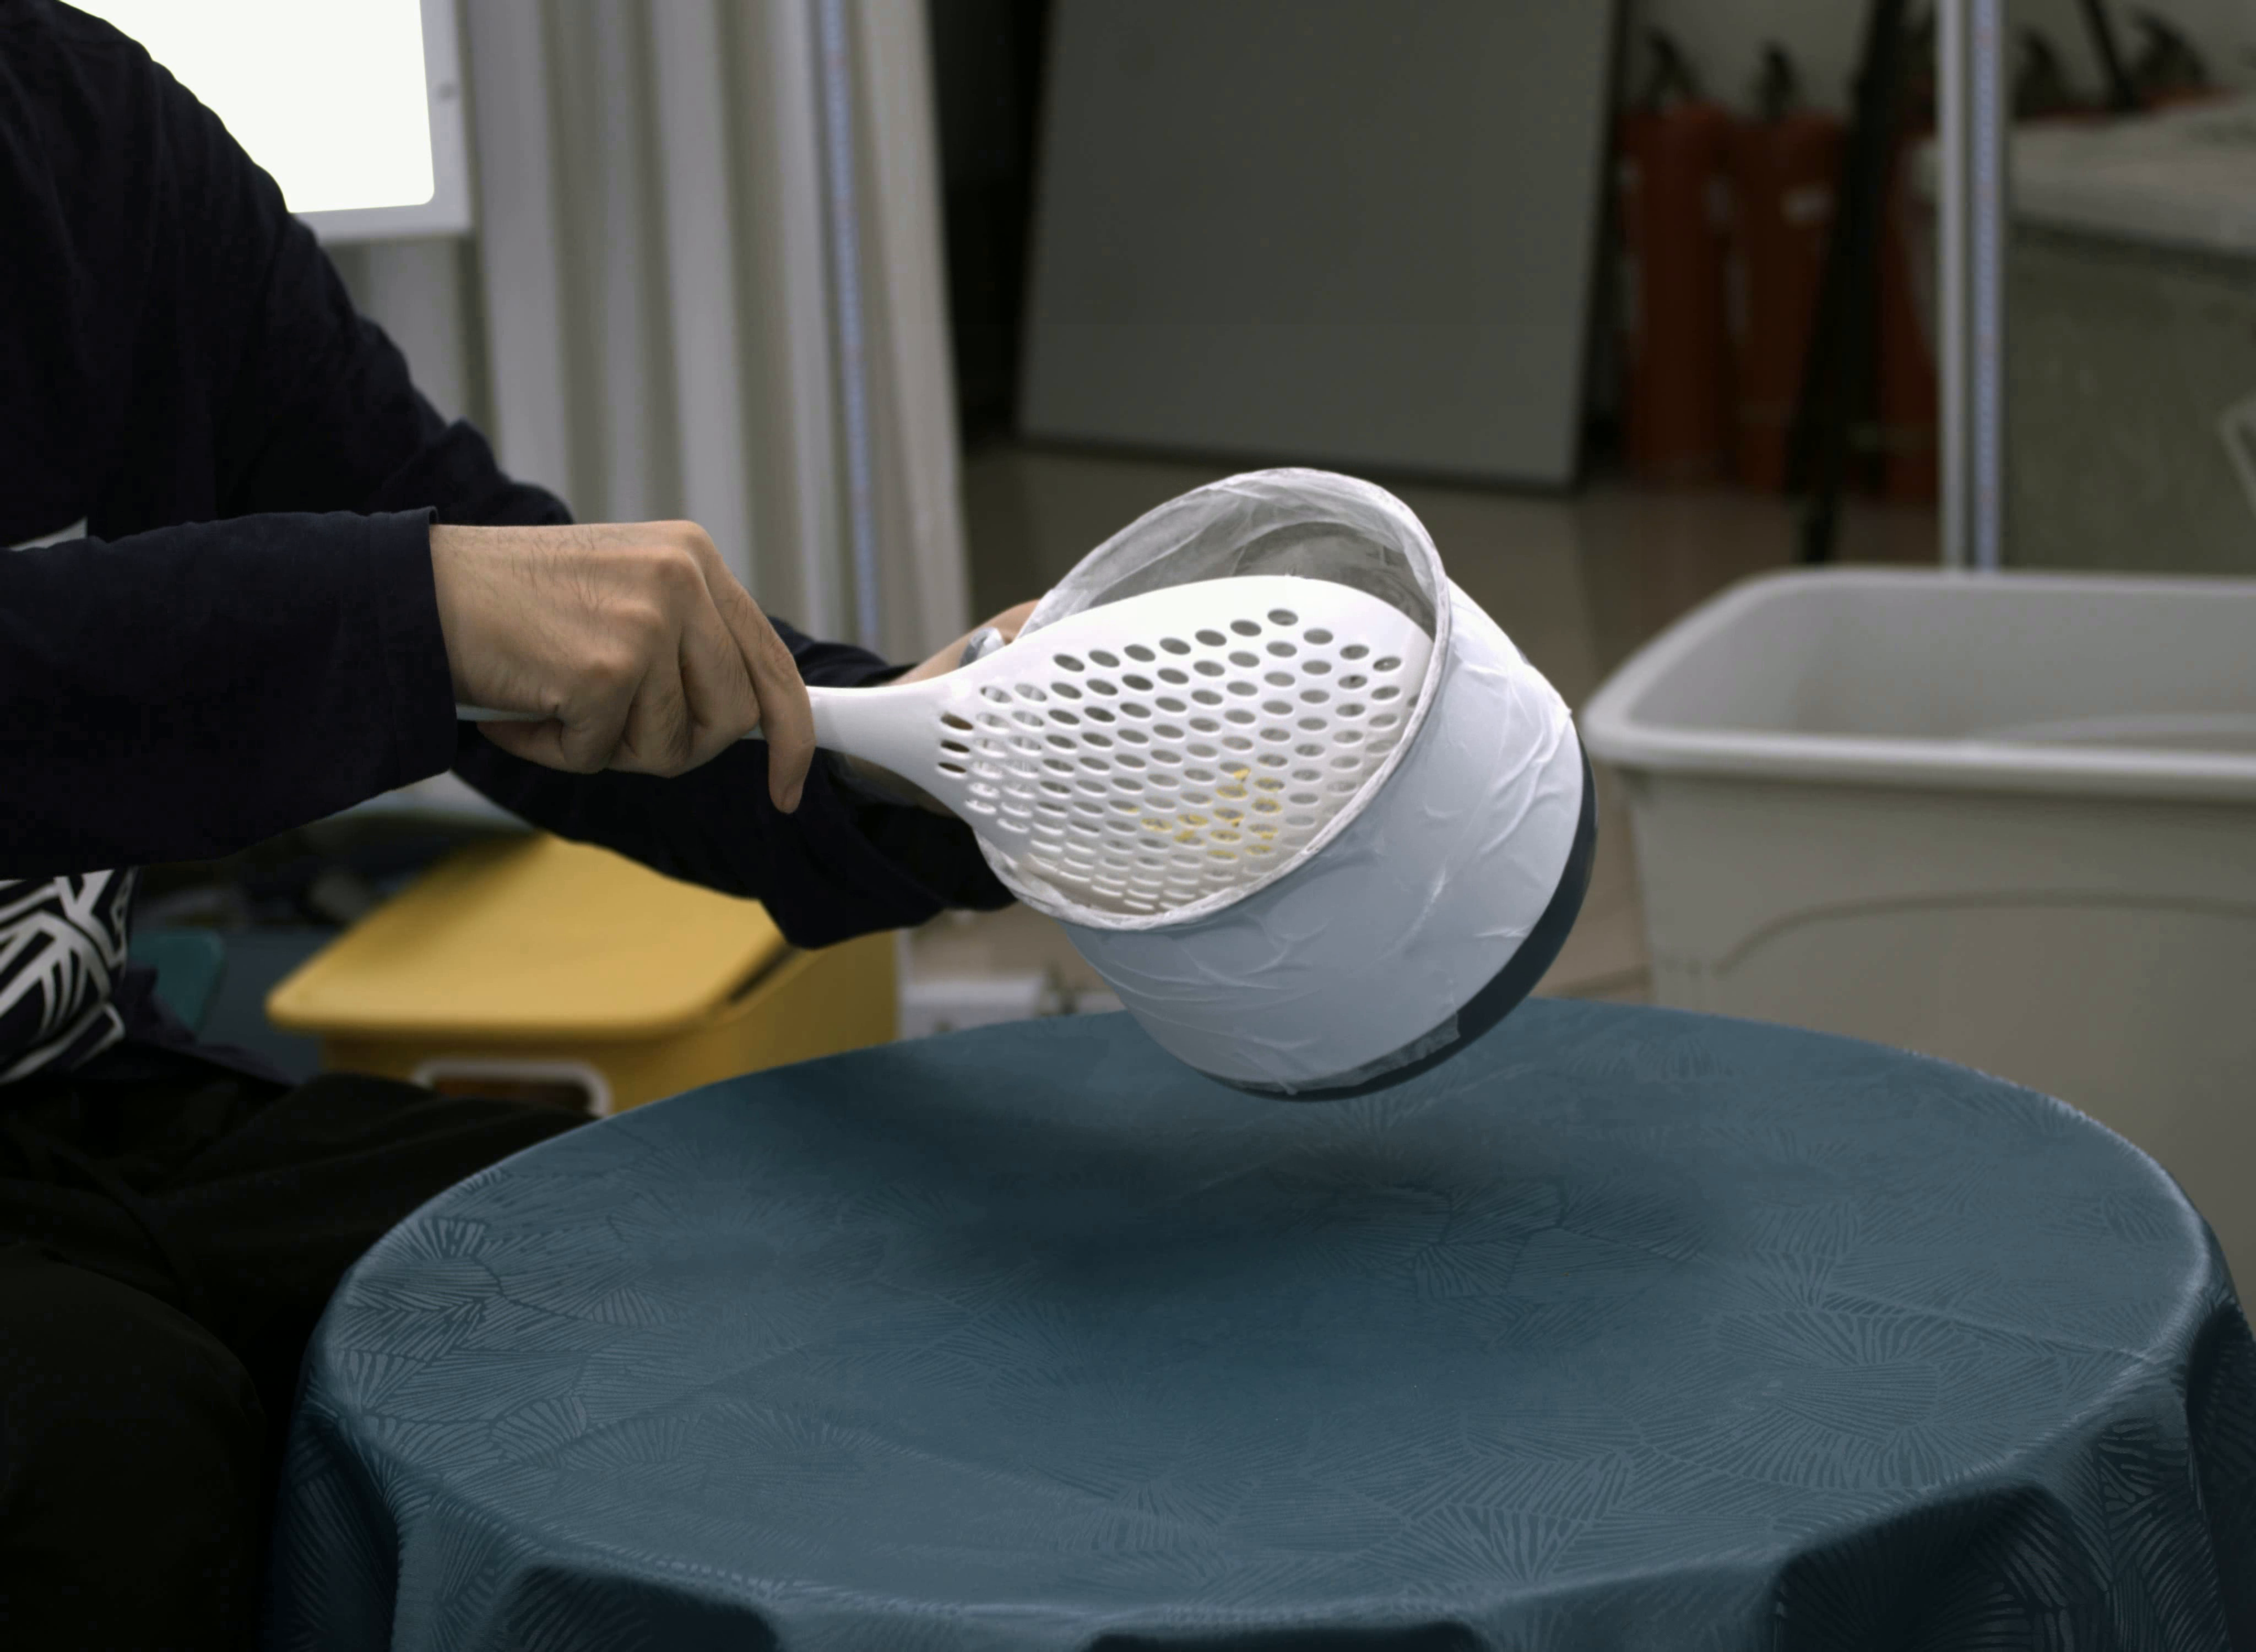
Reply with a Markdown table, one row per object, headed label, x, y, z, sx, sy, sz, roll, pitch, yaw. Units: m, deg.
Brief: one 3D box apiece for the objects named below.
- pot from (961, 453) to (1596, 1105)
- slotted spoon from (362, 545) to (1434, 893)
| label | x | y | z | sx | sy | sz | roll | pitch | yaw |
| --- | --- | --- | --- | --- | --- | --- | --- | --- | --- |
| pot | 0.034 | -0.014 | 1.769 | 0.236 | 0.135 | 0.179 | 10 | 61 | 41 |
| slotted spoon | -0.065 | -0.033 | 1.688 | 0.343 | 0.138 | 0.050 | 8 | 30 | -1 |
